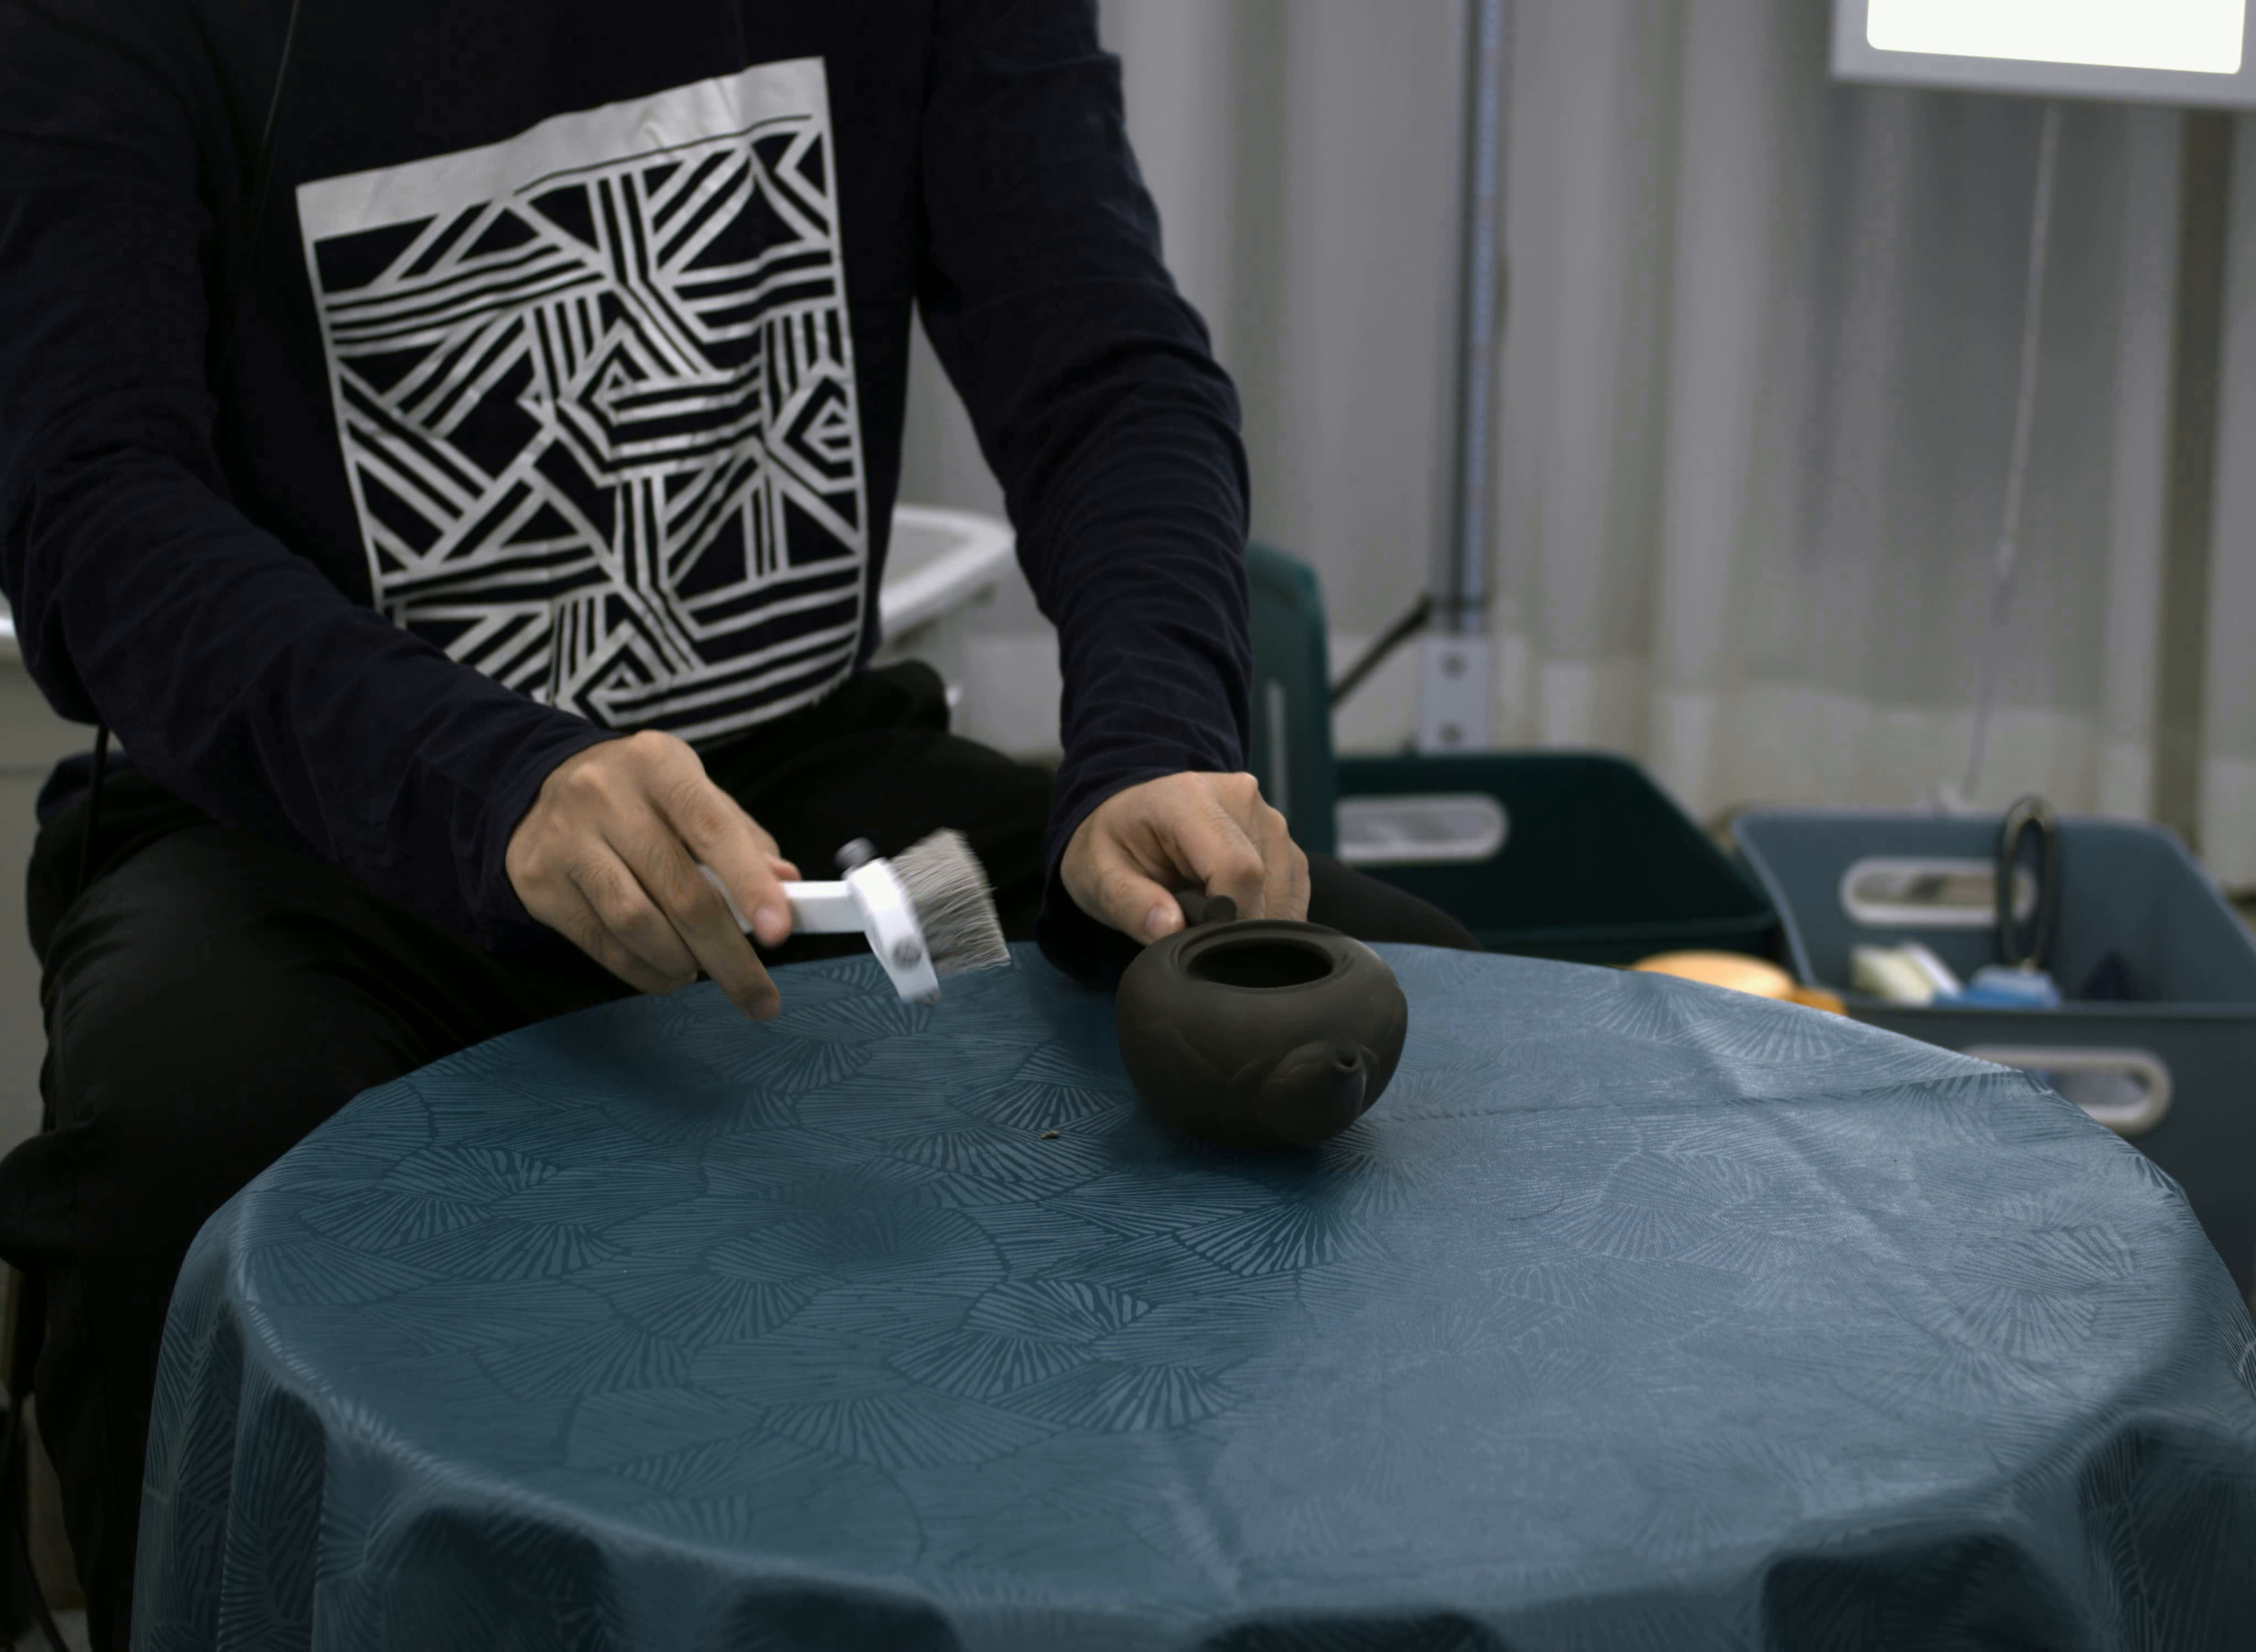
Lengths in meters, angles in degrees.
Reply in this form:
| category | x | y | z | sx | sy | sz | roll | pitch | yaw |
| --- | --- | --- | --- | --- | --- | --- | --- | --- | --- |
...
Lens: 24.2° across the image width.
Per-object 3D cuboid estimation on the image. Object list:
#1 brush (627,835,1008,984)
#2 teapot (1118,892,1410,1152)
| category | x | y | z | sx | sy | sz | roll | pitch | yaw |
| --- | --- | --- | --- | --- | --- | --- | --- | --- | --- |
| brush | -0.099 | 0.025 | 1.690 | 0.050 | 0.034 | 0.241 | -23 | 10 | -24 |
| teapot | 0.042 | 0.064 | 1.676 | 0.092 | 0.065 | 0.152 | -7 | 23 | -18 |
